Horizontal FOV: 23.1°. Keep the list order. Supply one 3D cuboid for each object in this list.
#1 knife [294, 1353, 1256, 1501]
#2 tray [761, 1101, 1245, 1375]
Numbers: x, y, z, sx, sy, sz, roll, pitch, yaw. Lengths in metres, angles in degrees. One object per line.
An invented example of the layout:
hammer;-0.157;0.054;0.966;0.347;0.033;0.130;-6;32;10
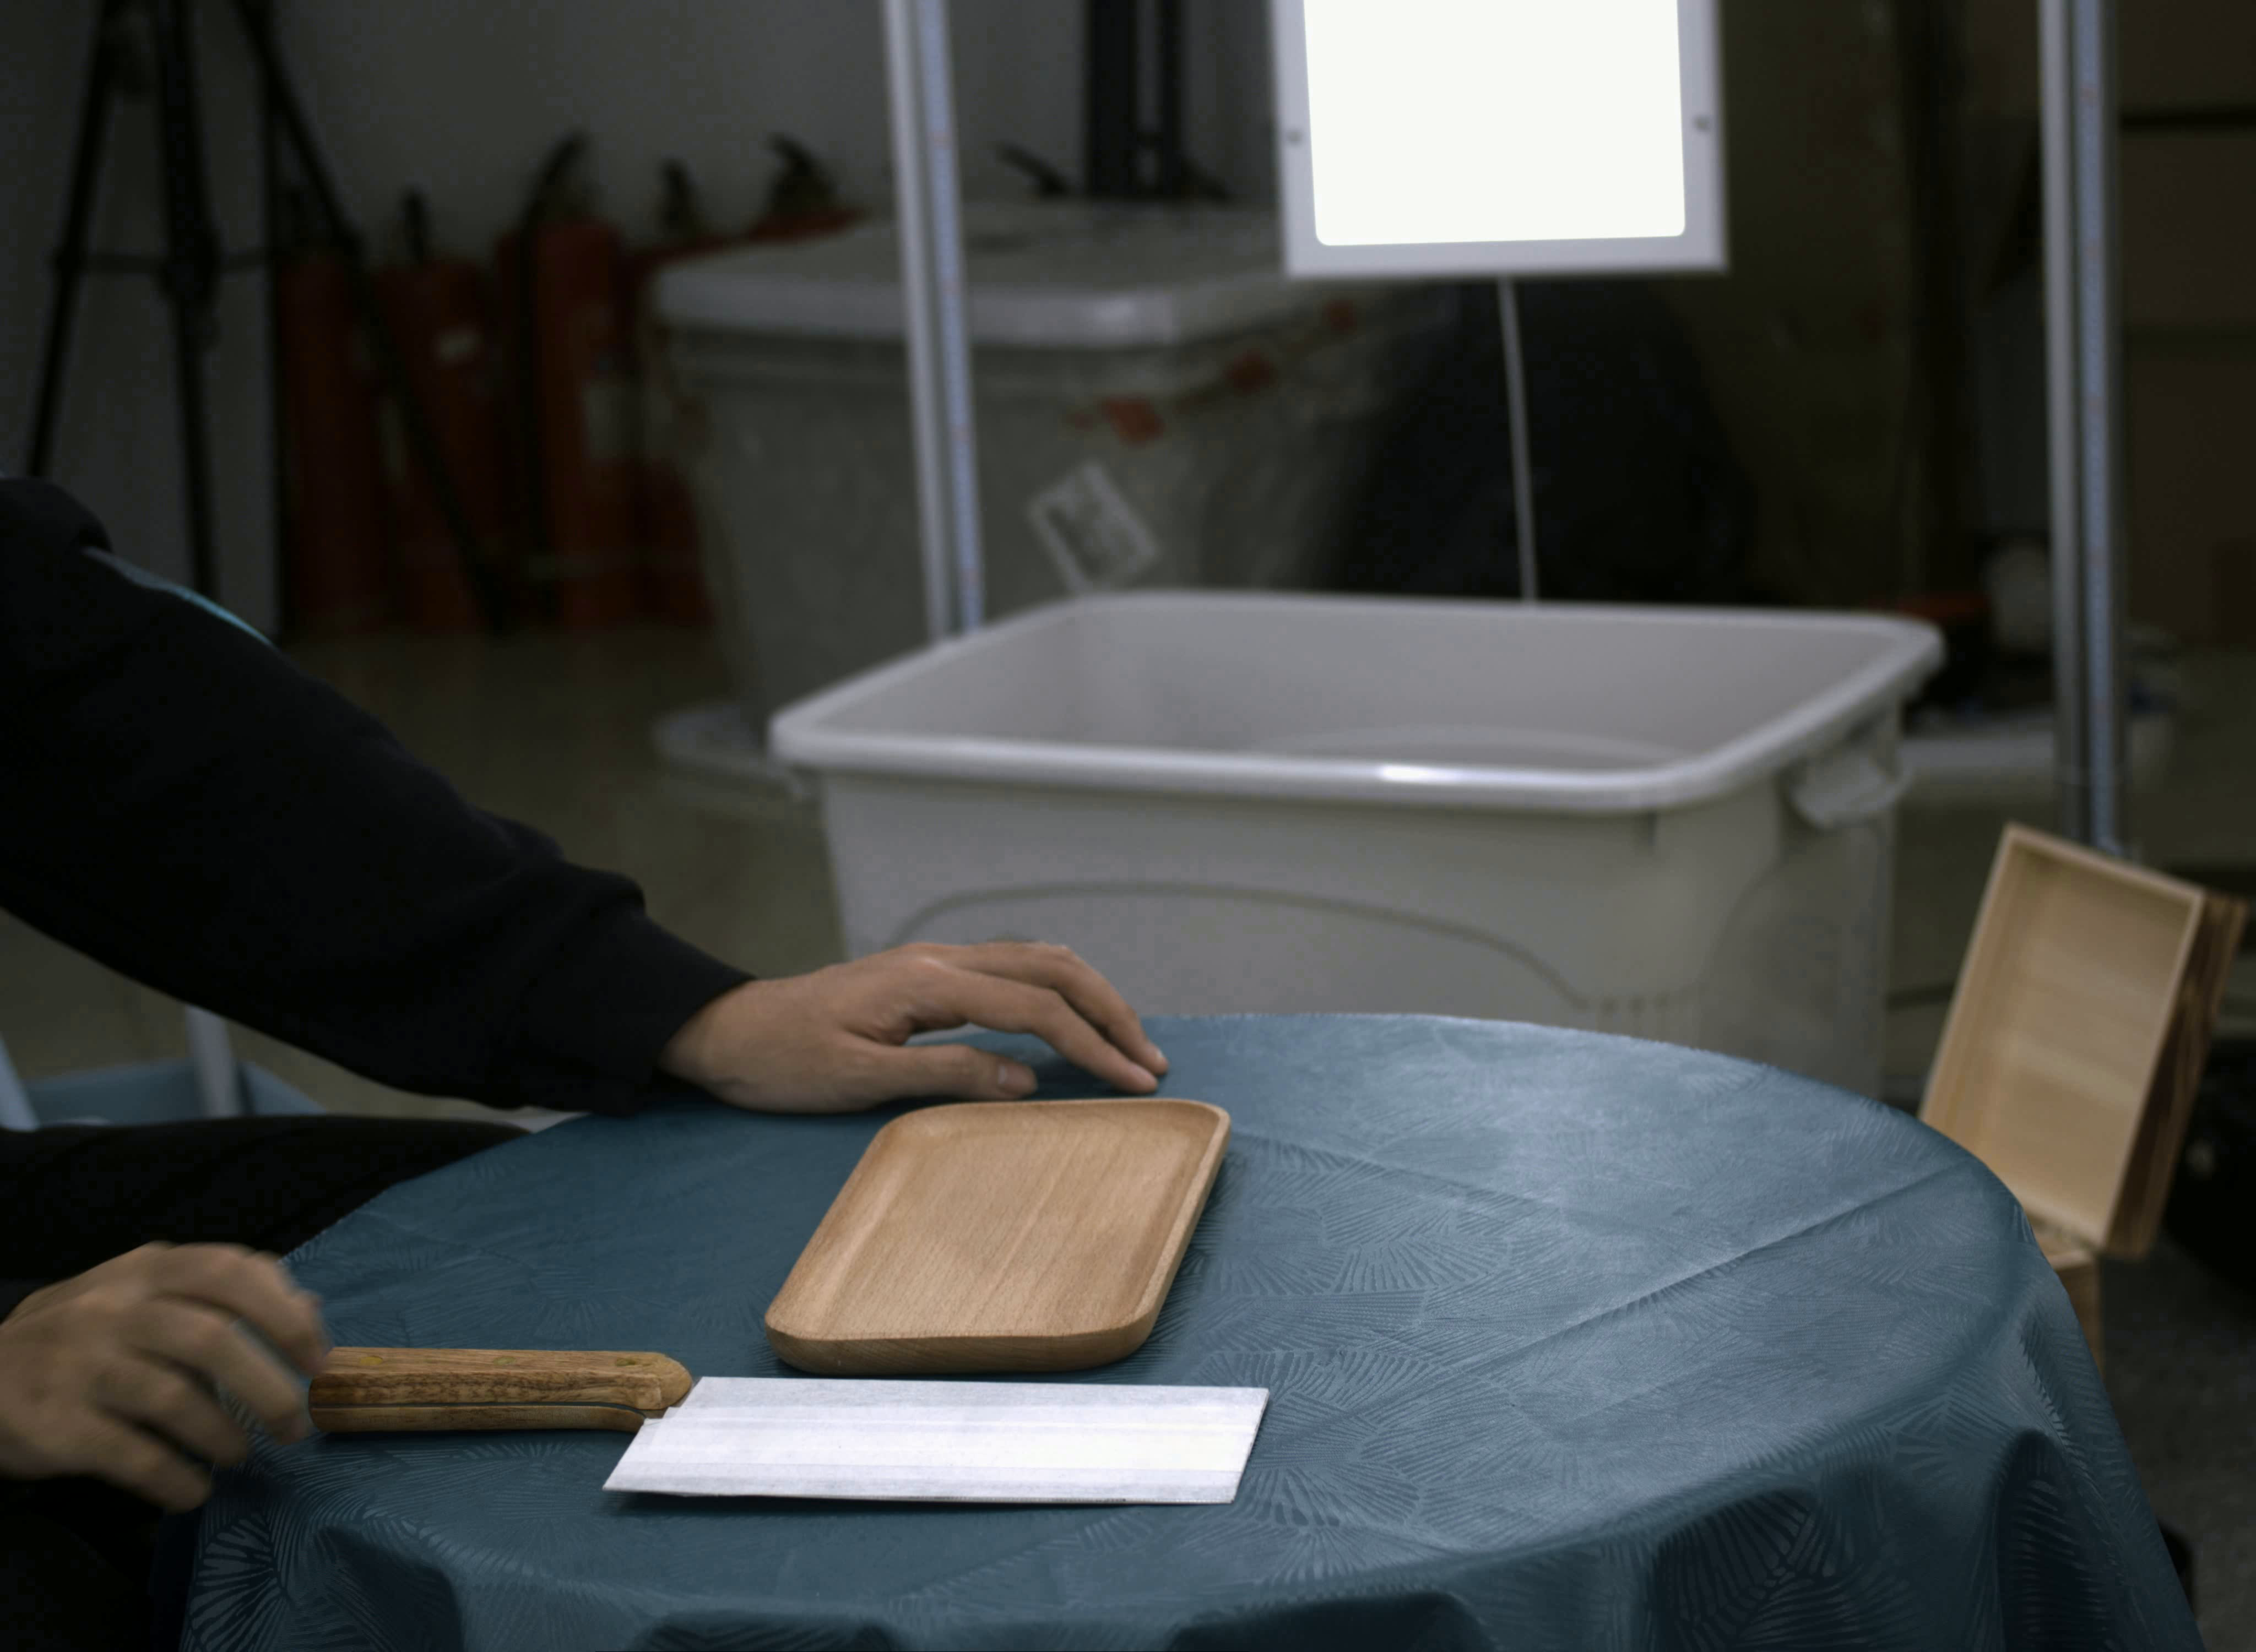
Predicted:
knife;-0.112;0.184;1.673;0.308;0.021;0.092;0;16;11
tray;-0.038;0.136;1.842;0.131;0.023;0.248;0;13;11
